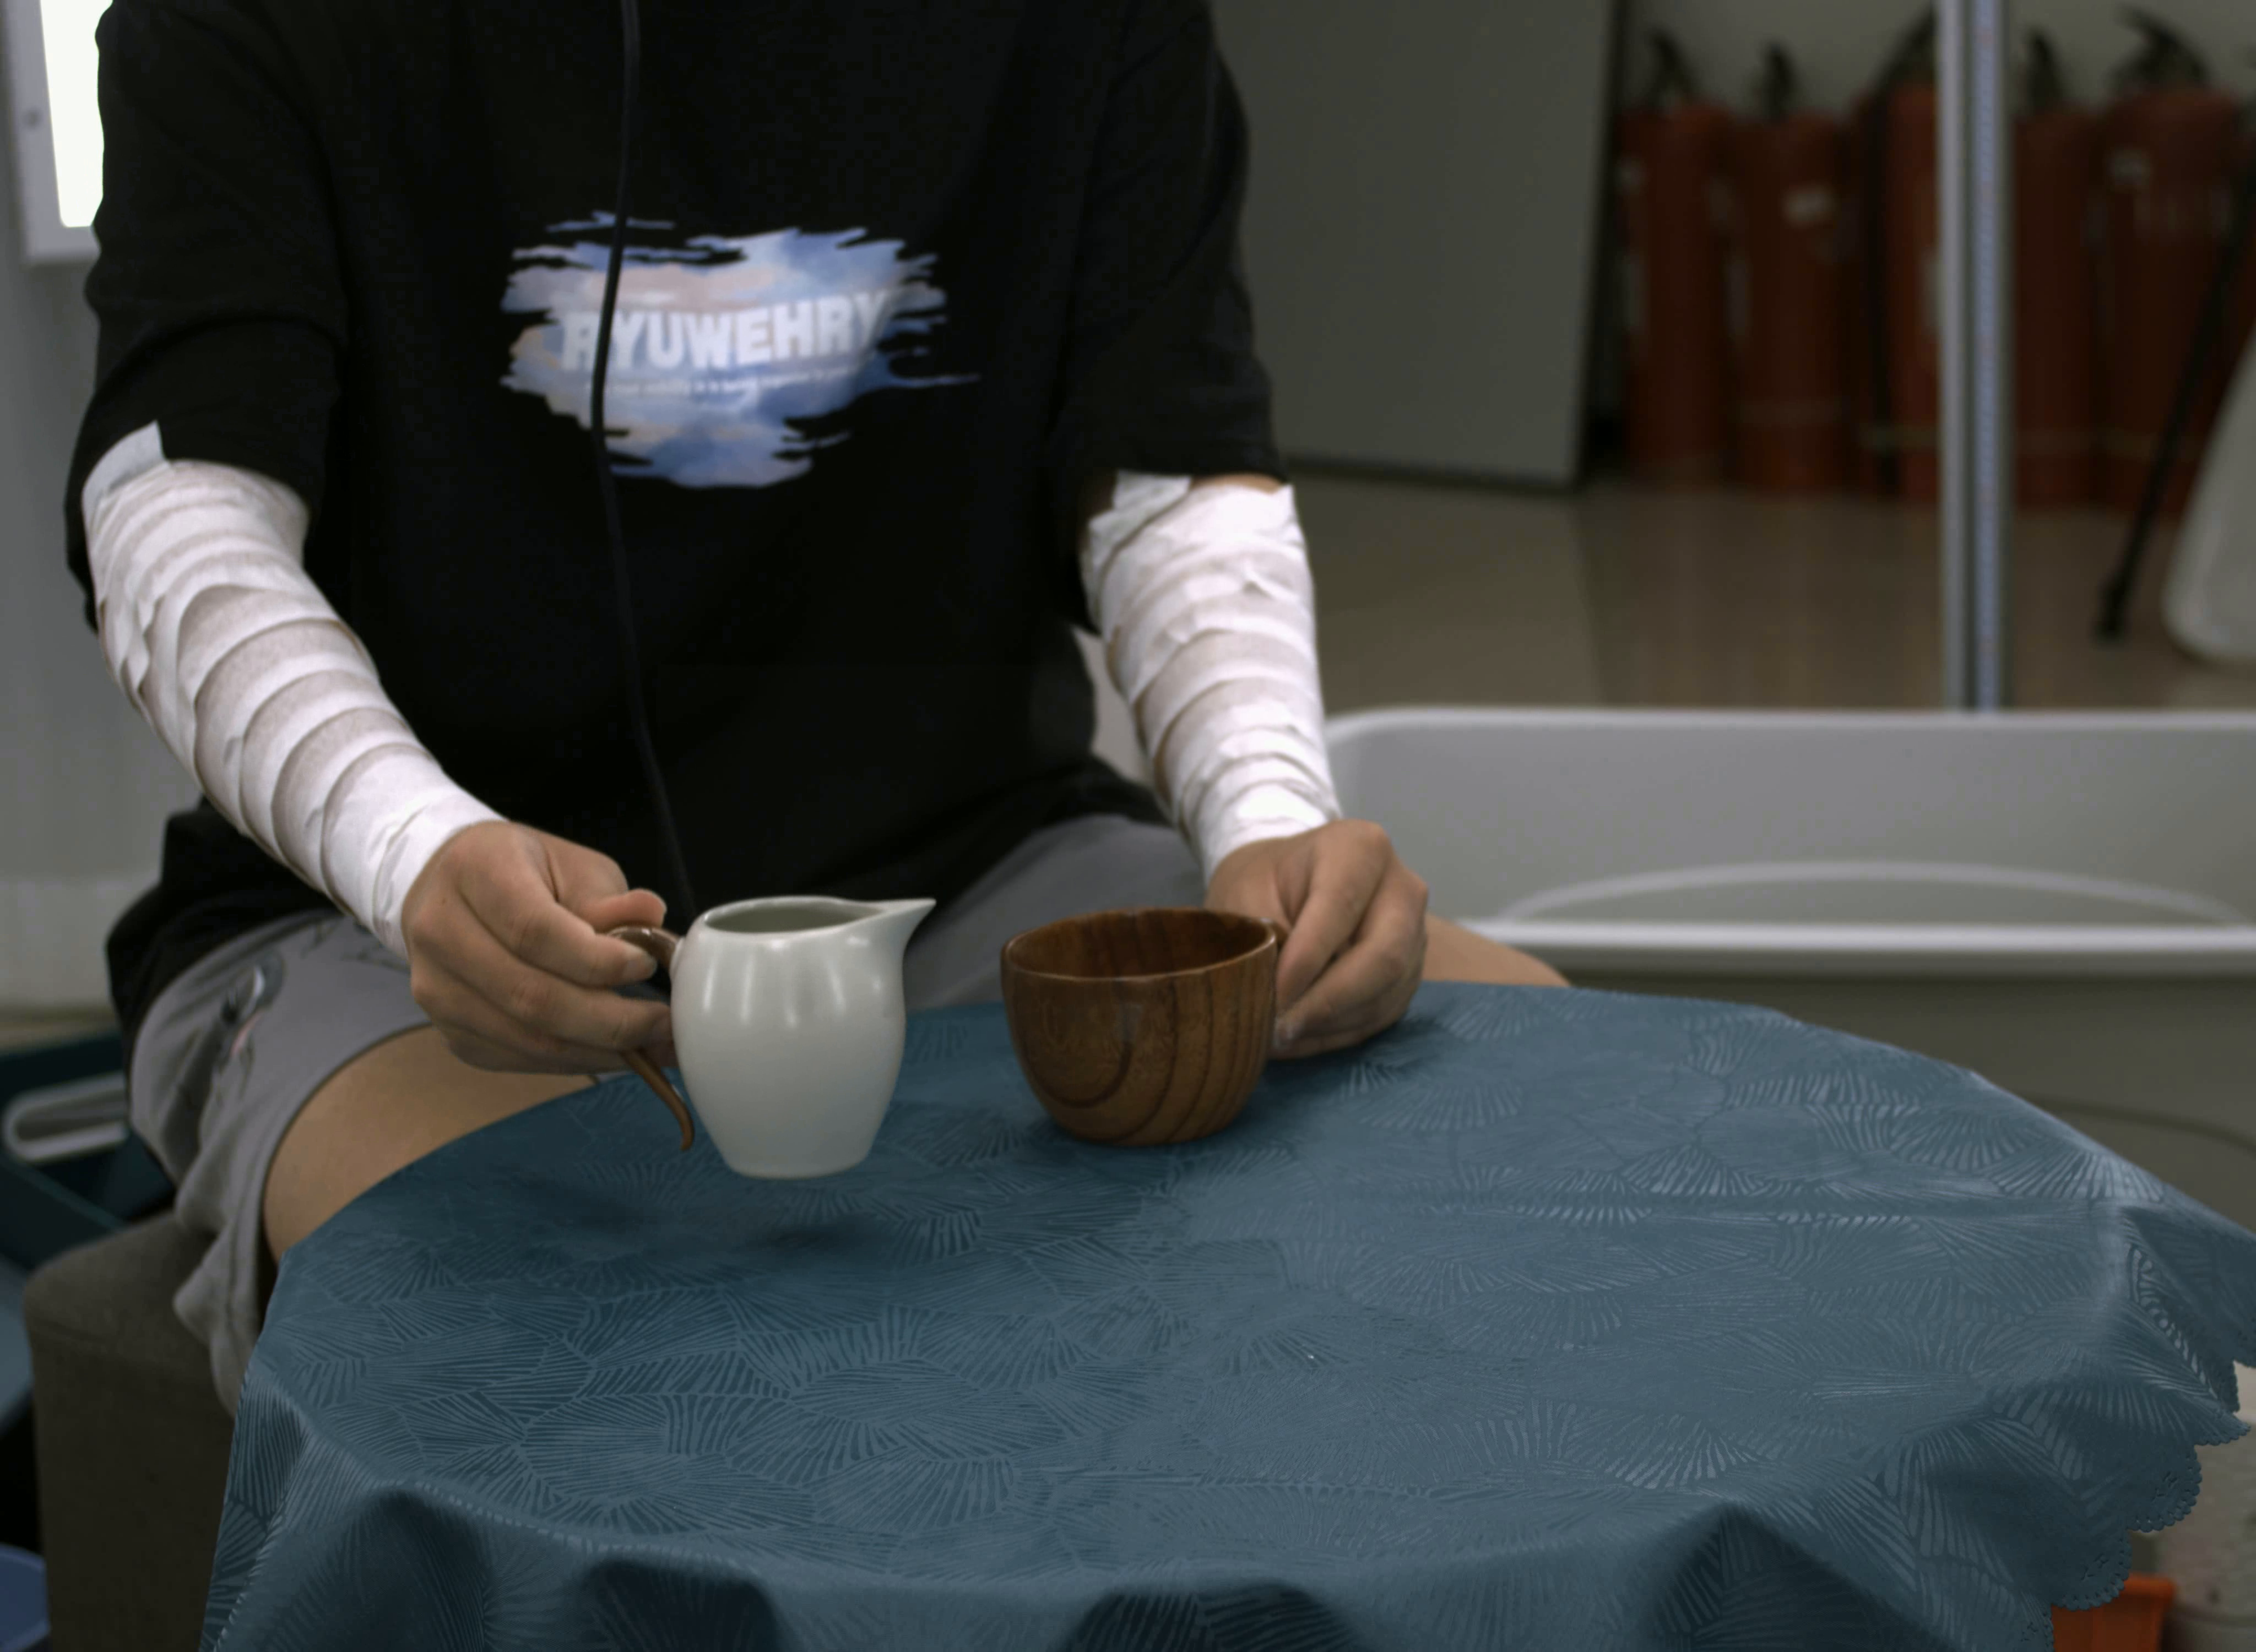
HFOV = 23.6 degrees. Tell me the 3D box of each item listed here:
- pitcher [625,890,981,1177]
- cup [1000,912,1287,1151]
[{"bbox_3d":[-0.106,0.064,1.731,0.119,0.089,0.075,6,9,16],"label":"pitcher"},{"bbox_3d":[0.015,0.069,1.847,0.117,0.068,0.097,-14,13,-42],"label":"cup"}]
